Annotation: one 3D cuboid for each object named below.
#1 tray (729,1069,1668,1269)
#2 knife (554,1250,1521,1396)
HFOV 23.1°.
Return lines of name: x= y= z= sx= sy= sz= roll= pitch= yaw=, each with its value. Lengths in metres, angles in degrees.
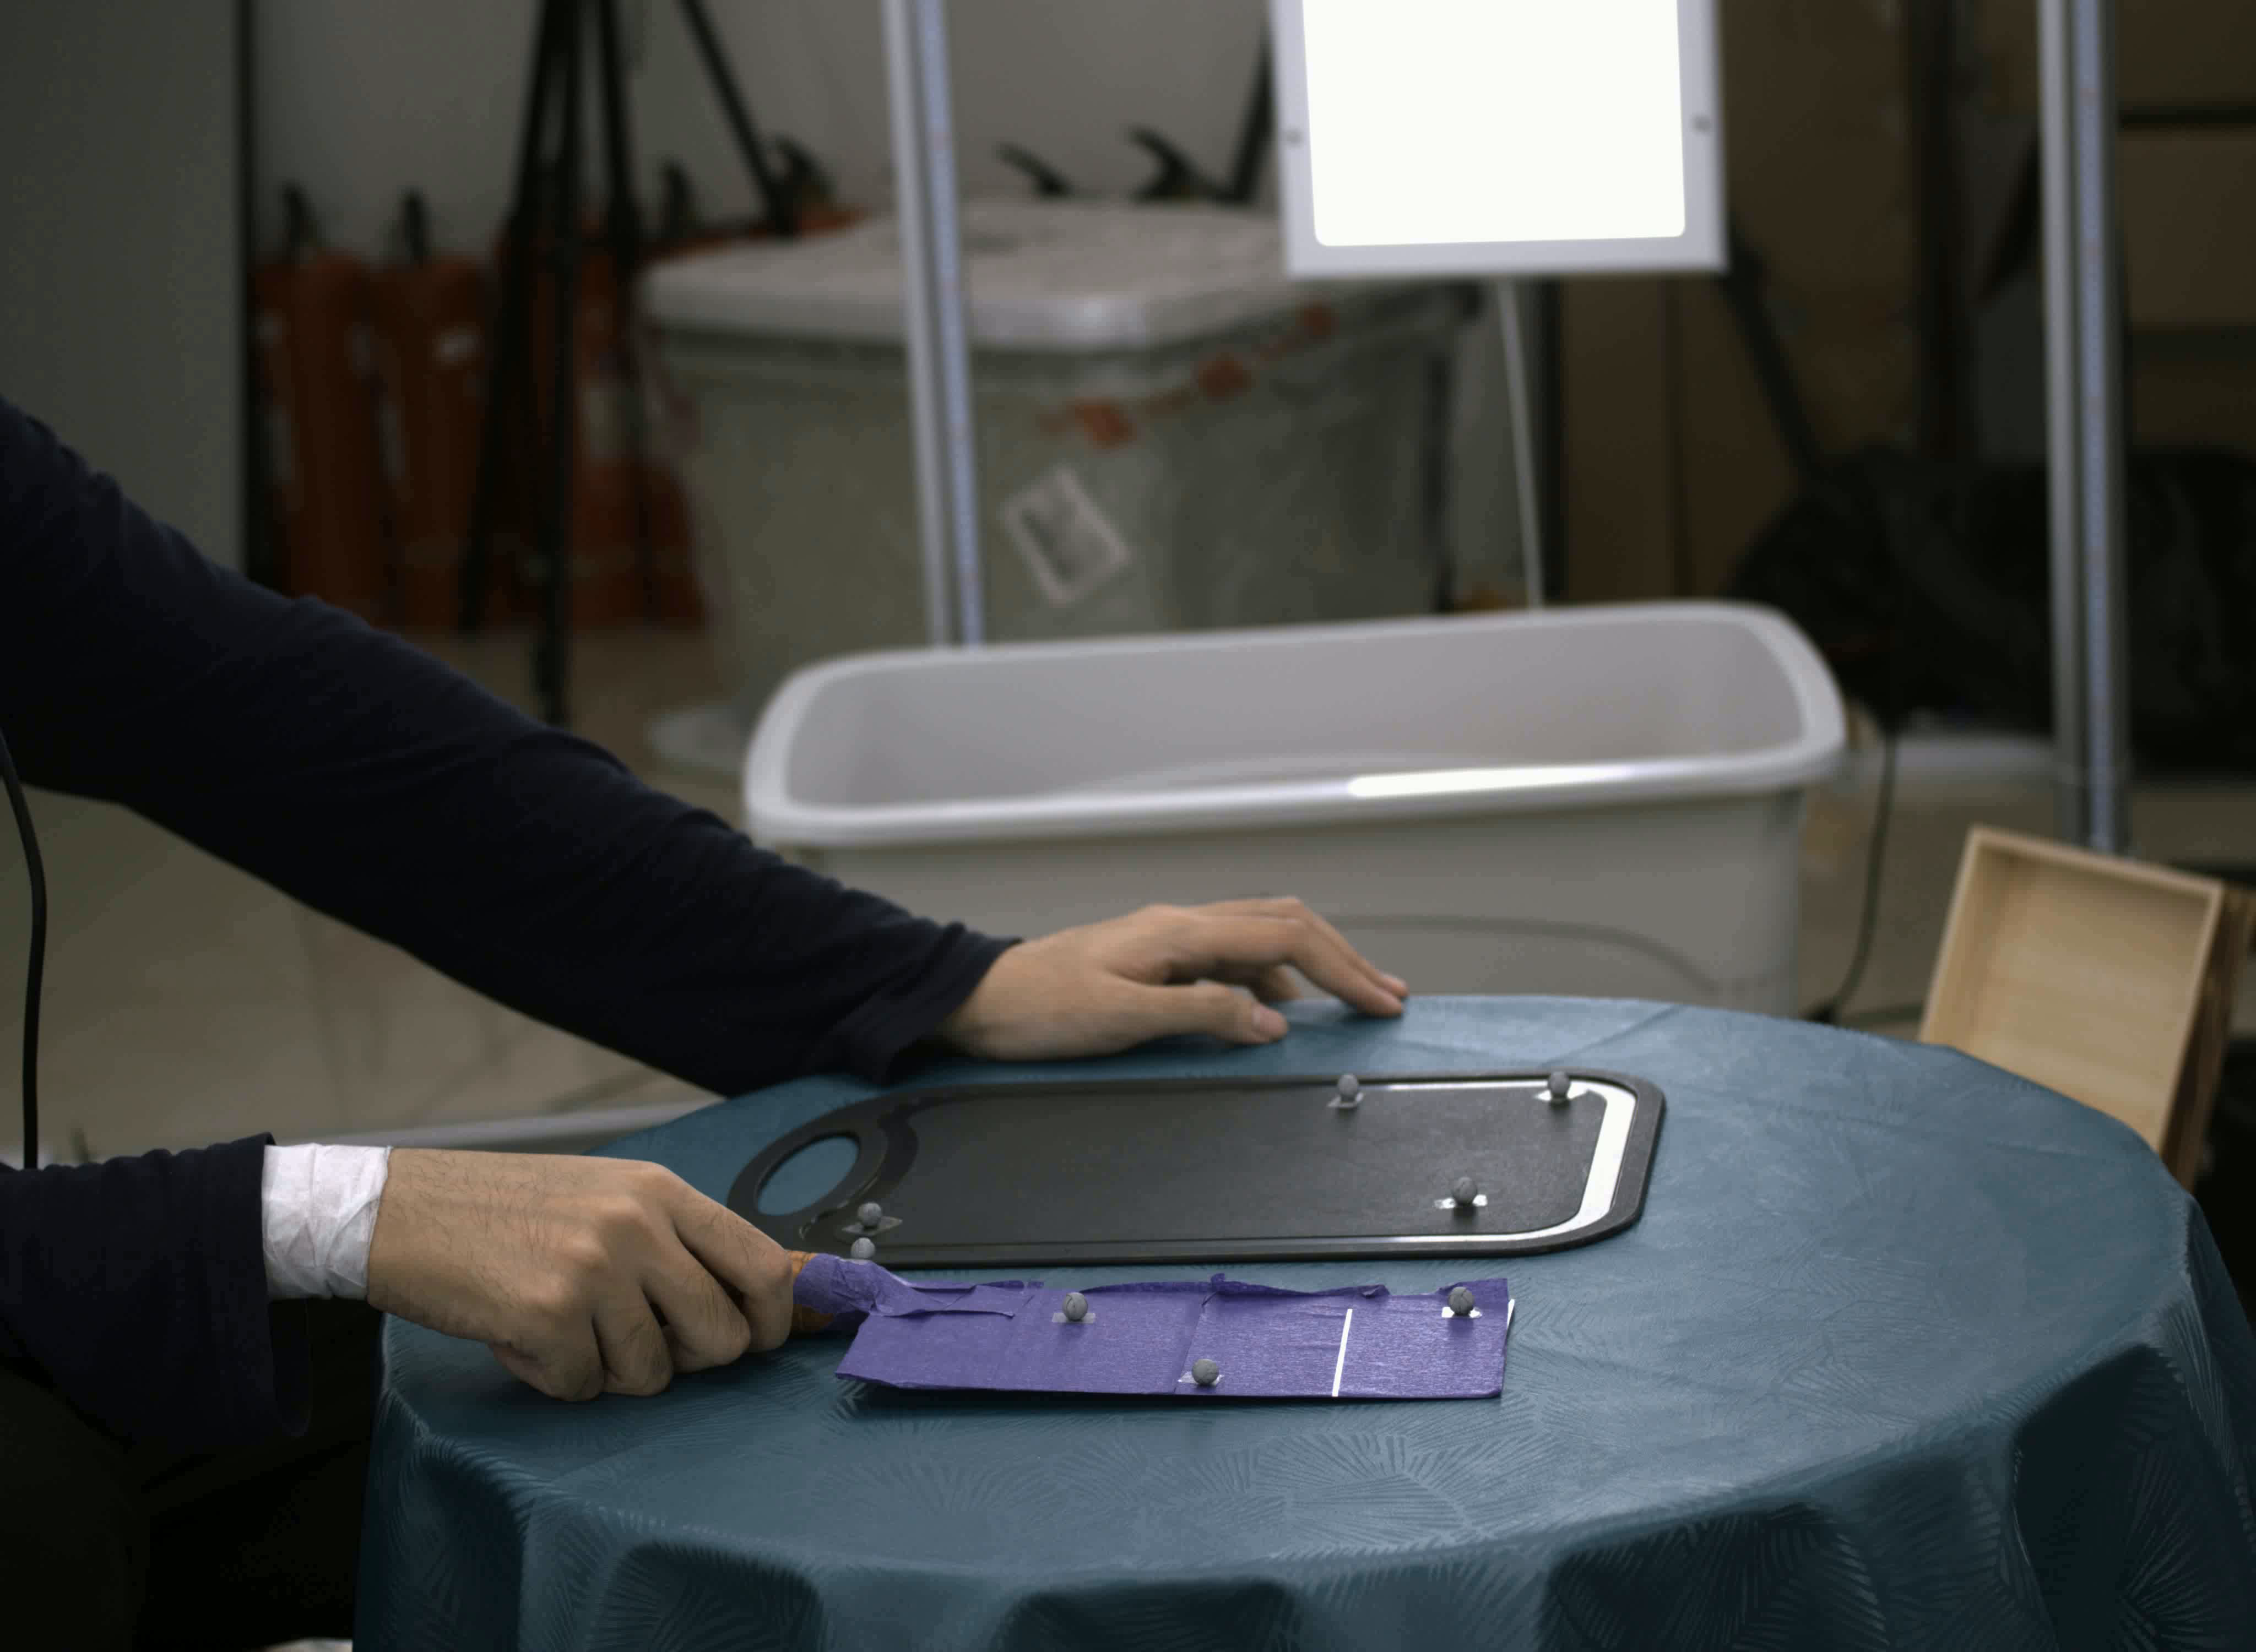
tray: x=0.022 y=0.117 z=1.920 sx=0.328 sy=0.010 sz=0.208 roll=-2 pitch=14 yaw=13
knife: x=-0.034 y=0.156 z=1.737 sx=0.317 sy=0.032 sz=0.103 roll=-2 pitch=14 yaw=10
